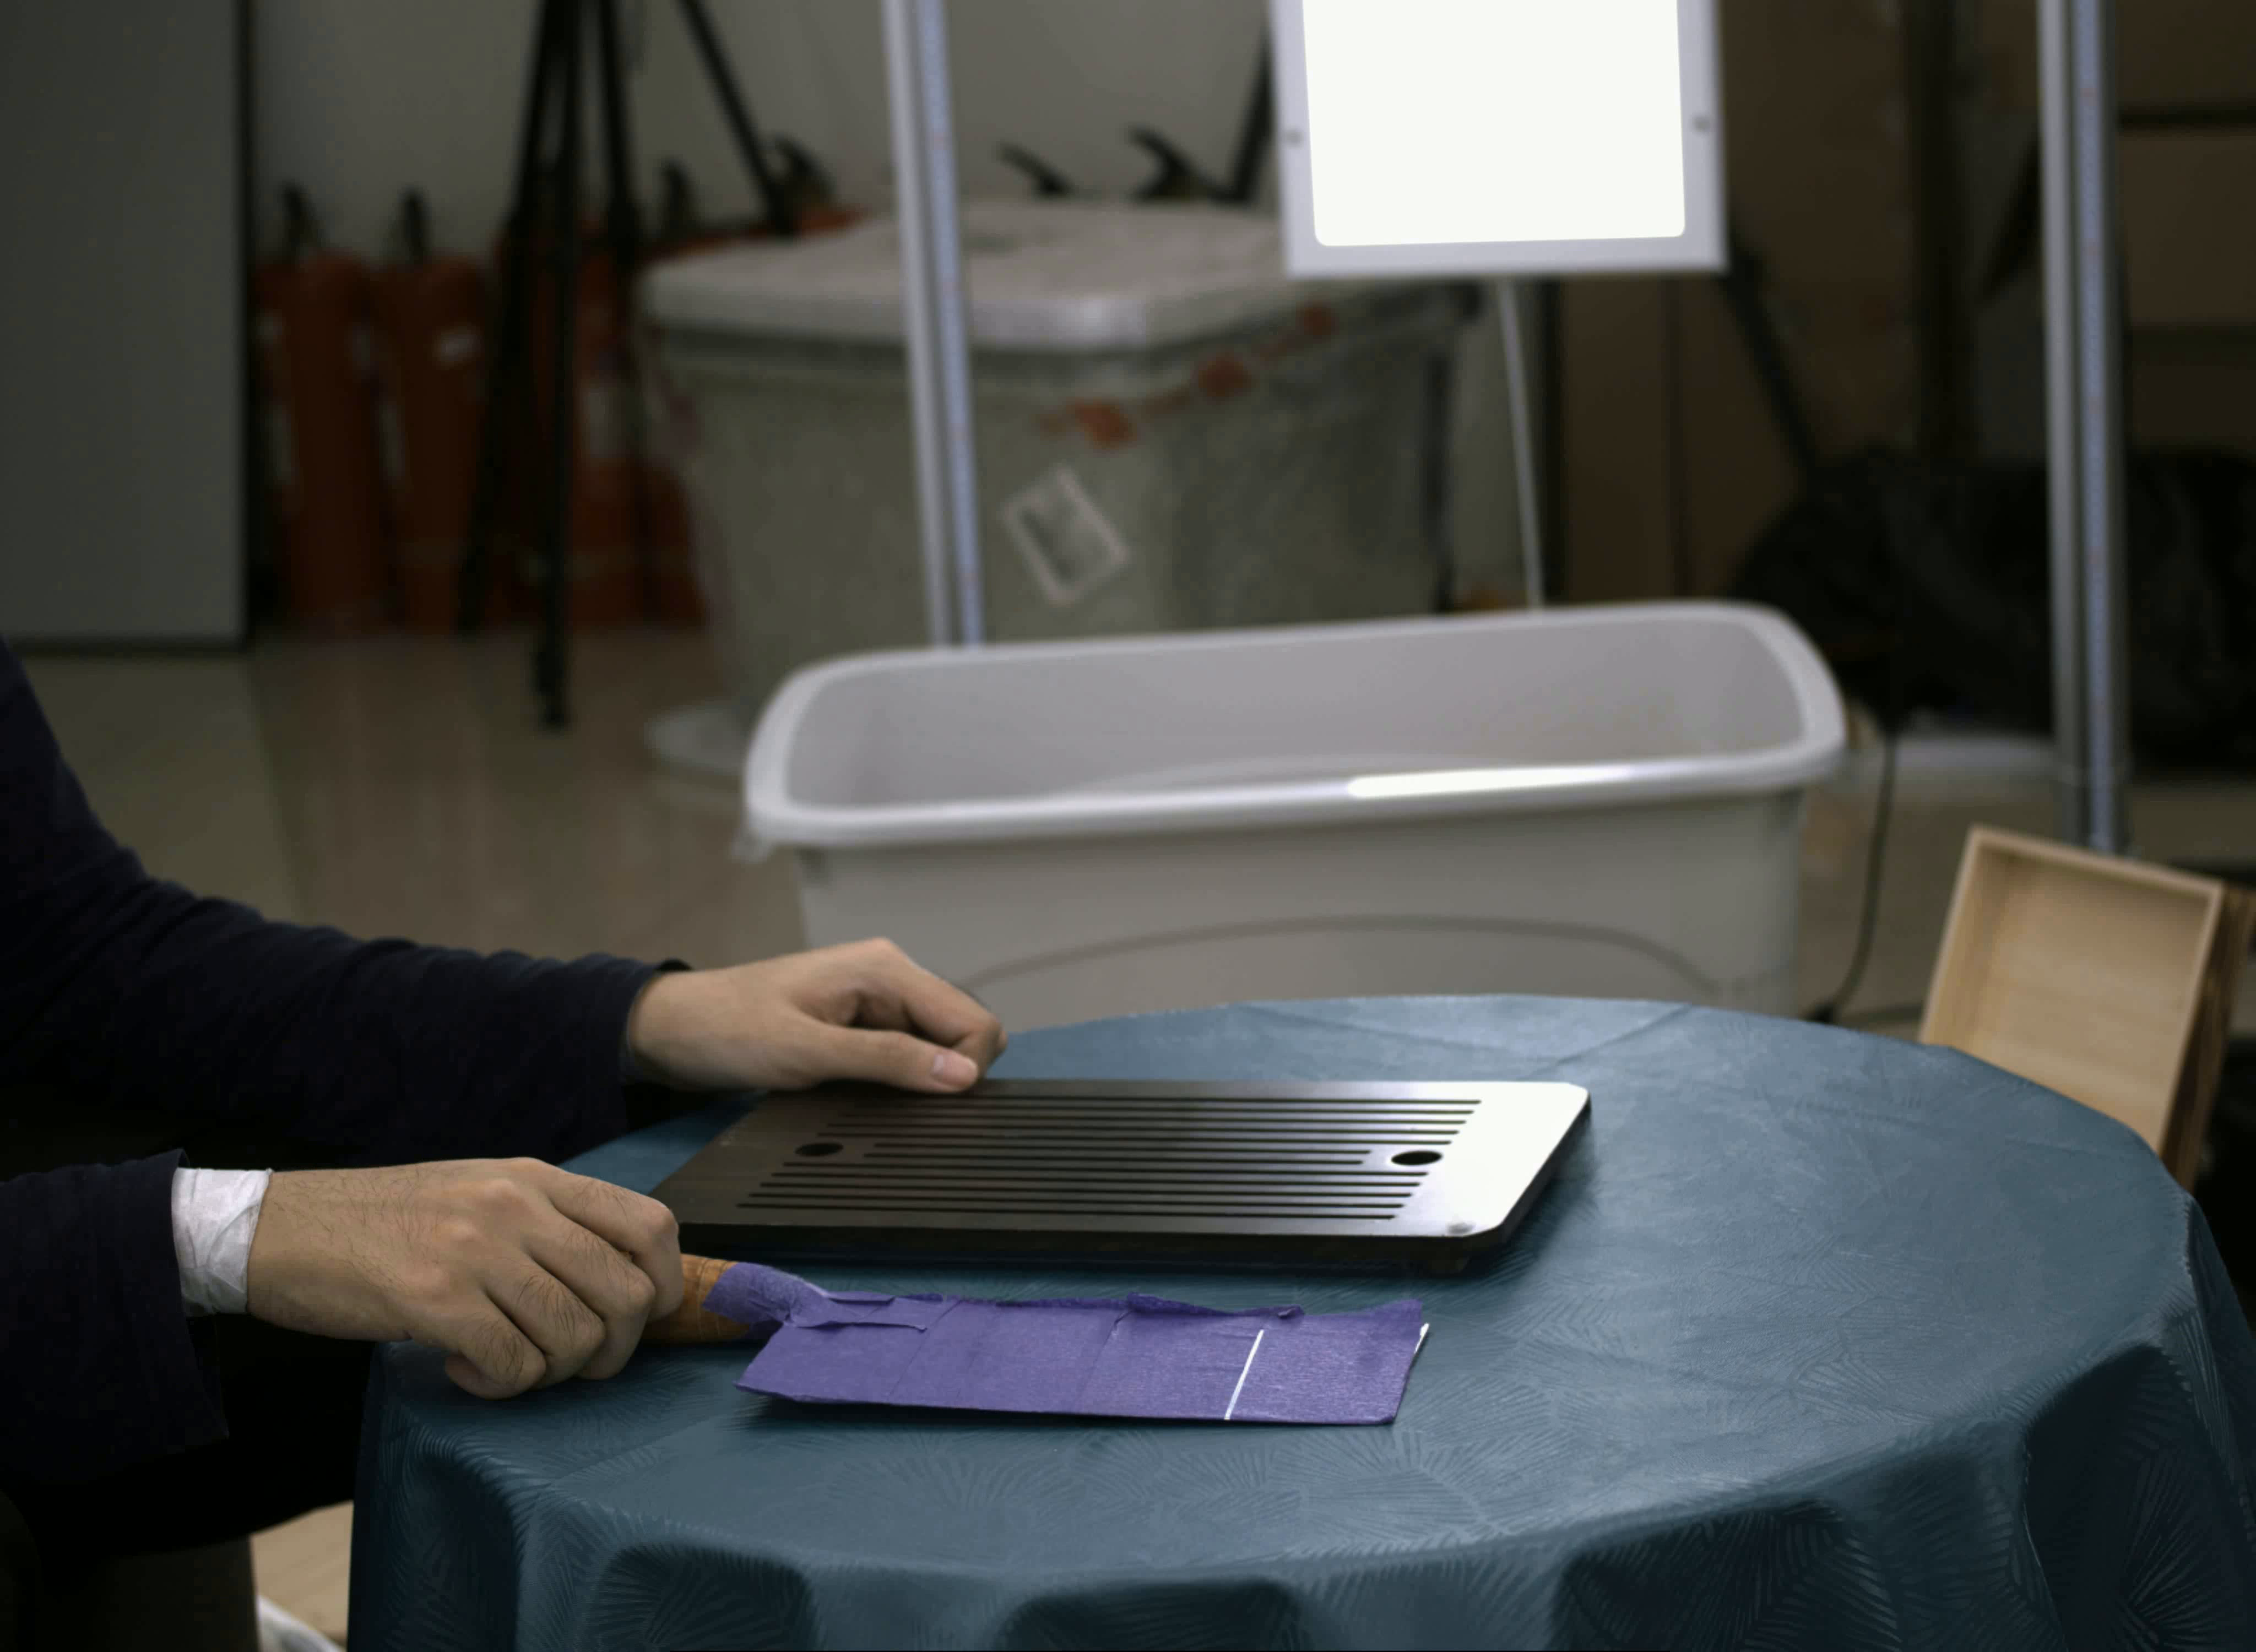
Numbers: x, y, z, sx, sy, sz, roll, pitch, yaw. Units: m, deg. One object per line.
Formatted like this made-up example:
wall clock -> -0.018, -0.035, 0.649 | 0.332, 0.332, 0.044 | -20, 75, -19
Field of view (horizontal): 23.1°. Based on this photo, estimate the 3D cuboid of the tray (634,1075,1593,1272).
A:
tray -> -0.002, 0.119, 1.900 | 0.310, 0.019, 0.167 | -1, 14, 19

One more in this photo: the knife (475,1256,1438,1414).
knife -> -0.062, 0.160, 1.732 | 0.318, 0.032, 0.102 | -1, 14, 14
